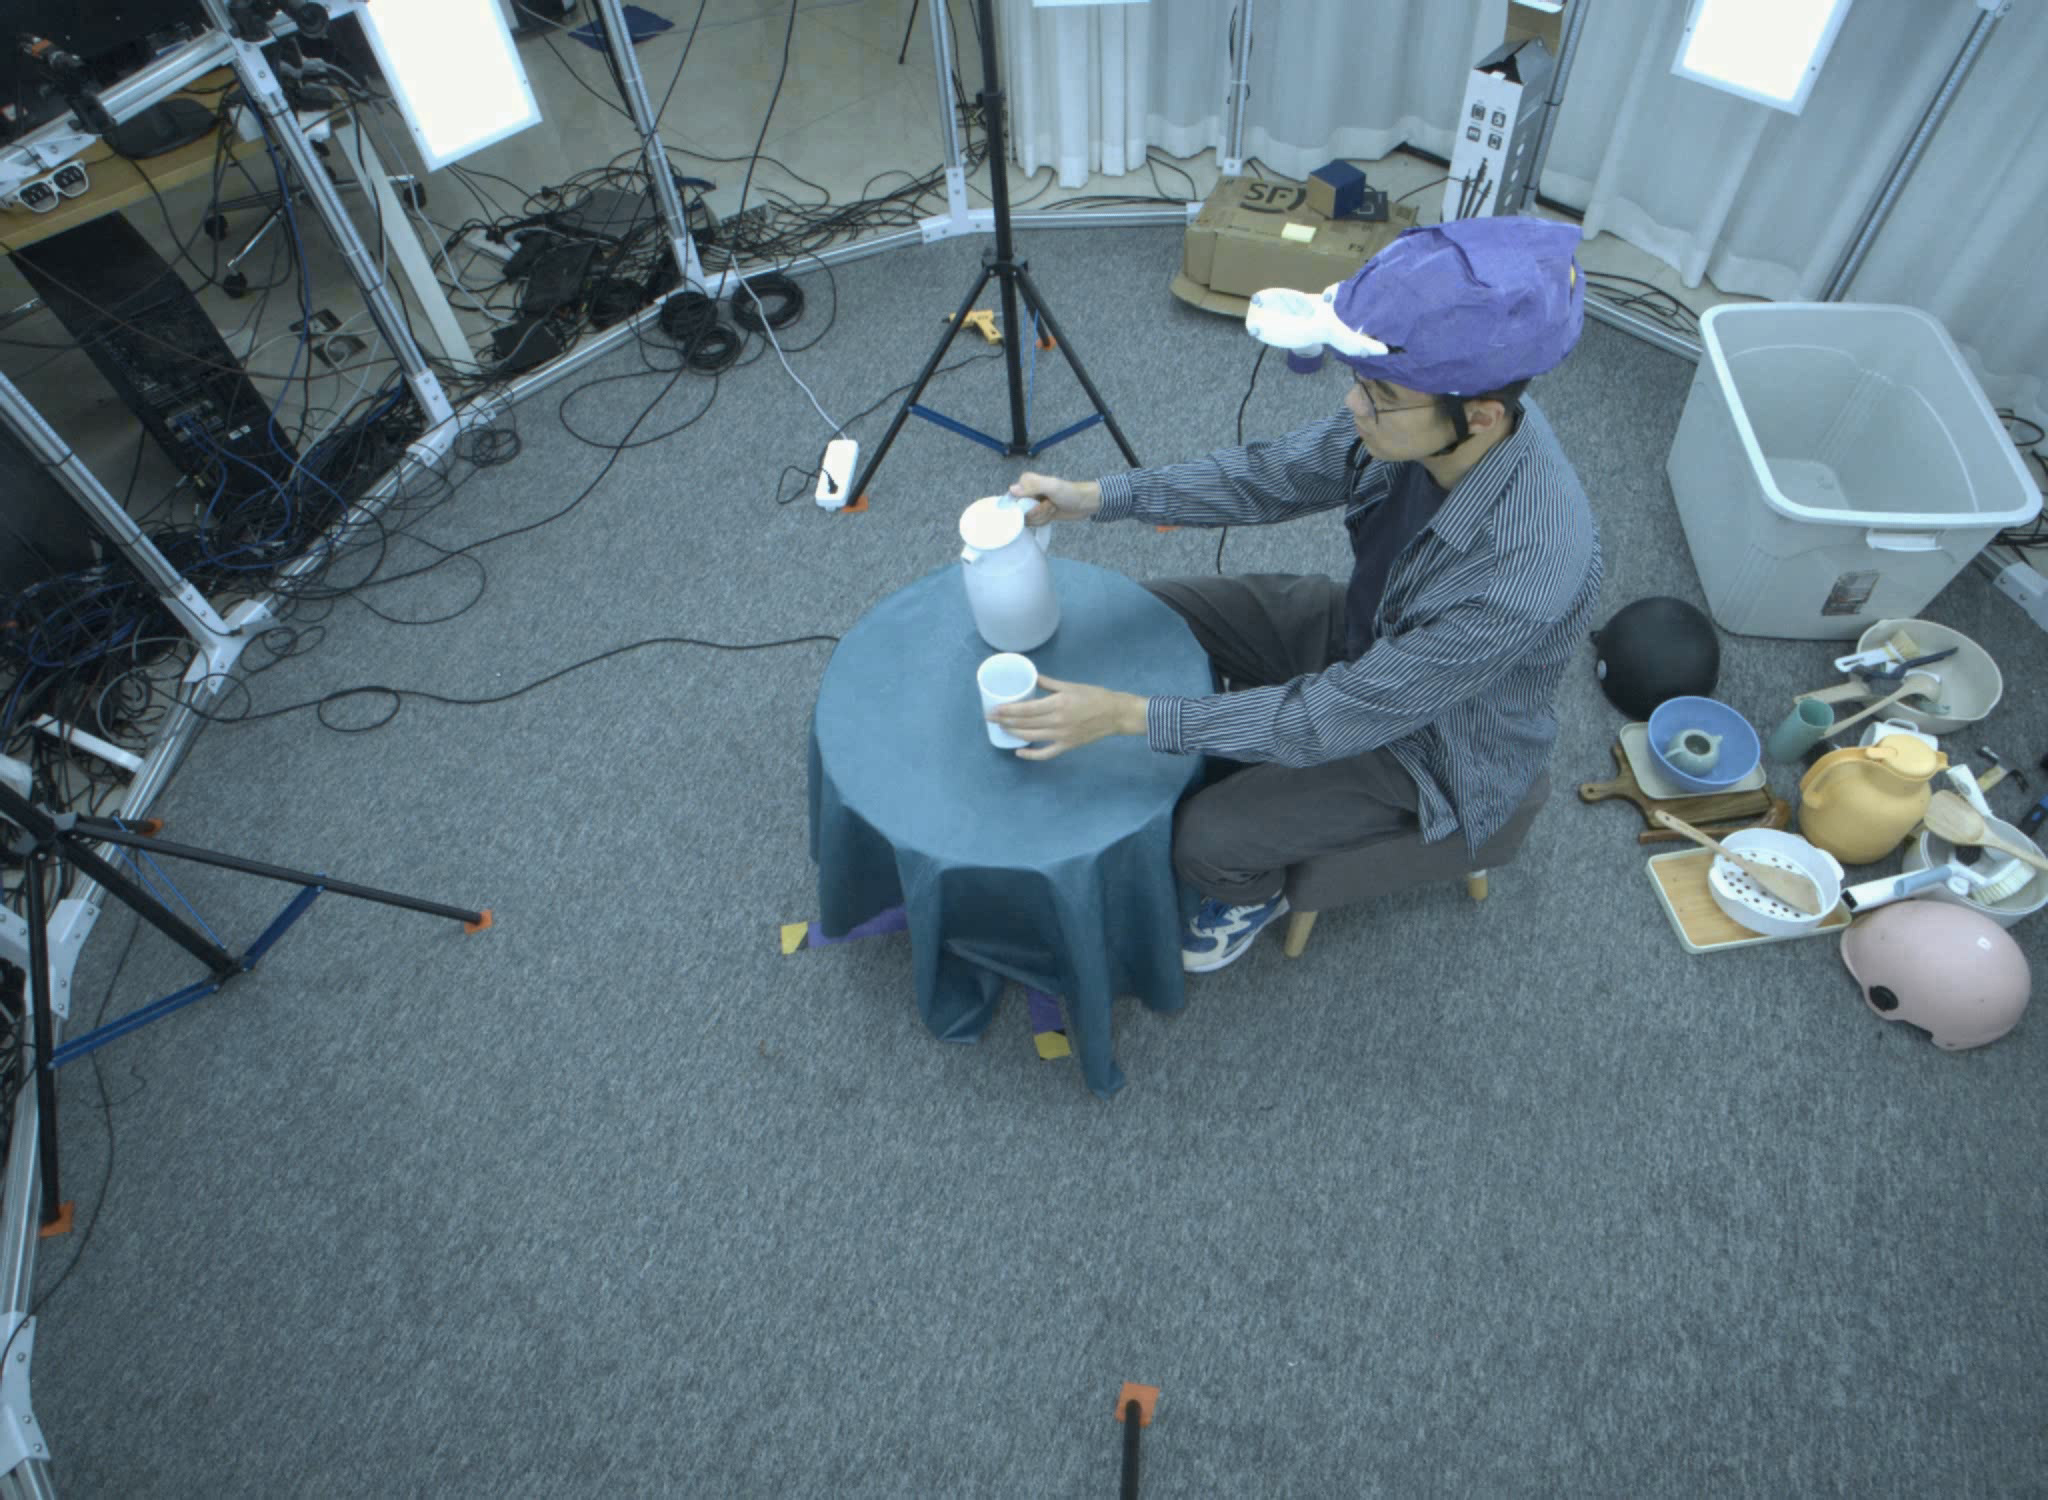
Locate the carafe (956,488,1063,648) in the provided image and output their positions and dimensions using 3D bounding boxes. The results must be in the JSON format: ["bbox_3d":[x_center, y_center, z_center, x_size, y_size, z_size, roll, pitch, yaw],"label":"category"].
[{"bbox_3d":[-0.020,-0.283,1.811,0.130,0.252,0.168,25,72,22],"label":"carafe"}]

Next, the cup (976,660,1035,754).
[{"bbox_3d":[-0.023,-0.056,1.727,0.081,0.127,0.081,0,55,2],"label":"cup"}]
